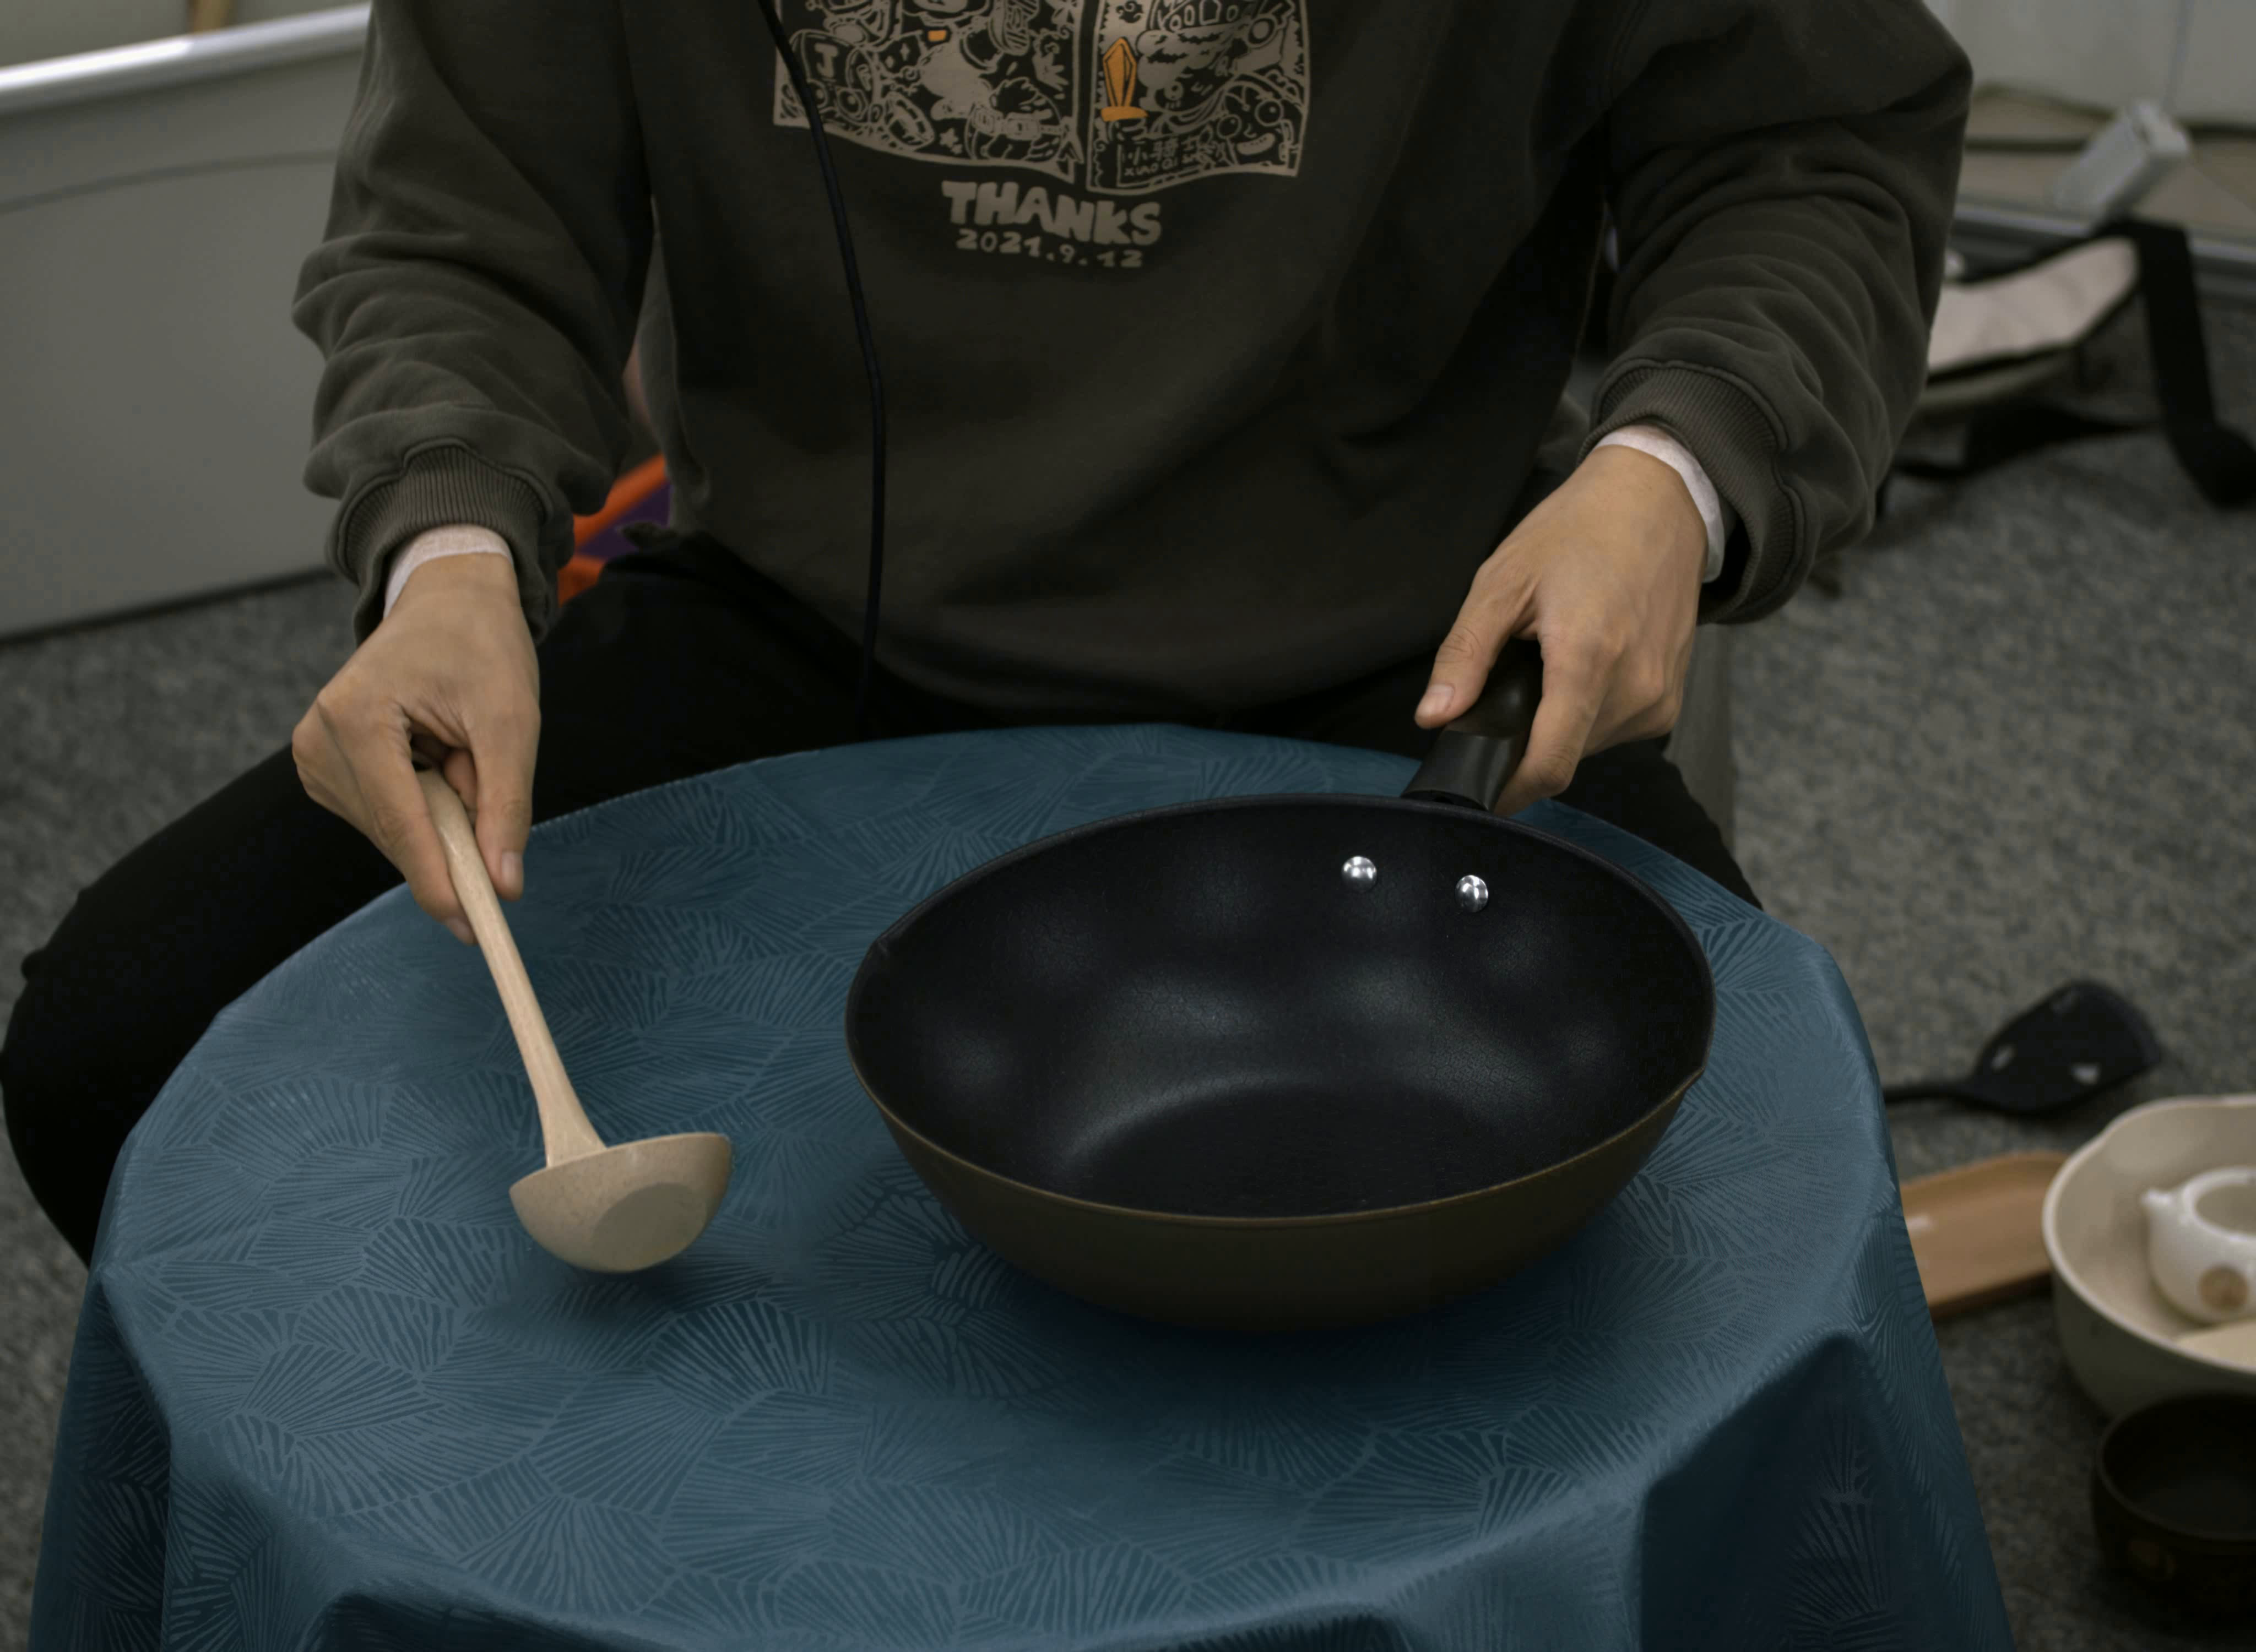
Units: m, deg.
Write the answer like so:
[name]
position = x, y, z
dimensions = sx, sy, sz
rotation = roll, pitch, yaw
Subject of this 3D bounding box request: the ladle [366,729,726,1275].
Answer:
[ladle]
position = -0.203, 0.039, 1.859
dimensions = 0.072, 0.071, 0.258
rotation = -13, 53, -22

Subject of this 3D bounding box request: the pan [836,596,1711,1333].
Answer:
[pan]
position = 0.084, 0.047, 1.905
dimensions = 0.286, 0.086, 0.471
rotation = 8, 29, 21
